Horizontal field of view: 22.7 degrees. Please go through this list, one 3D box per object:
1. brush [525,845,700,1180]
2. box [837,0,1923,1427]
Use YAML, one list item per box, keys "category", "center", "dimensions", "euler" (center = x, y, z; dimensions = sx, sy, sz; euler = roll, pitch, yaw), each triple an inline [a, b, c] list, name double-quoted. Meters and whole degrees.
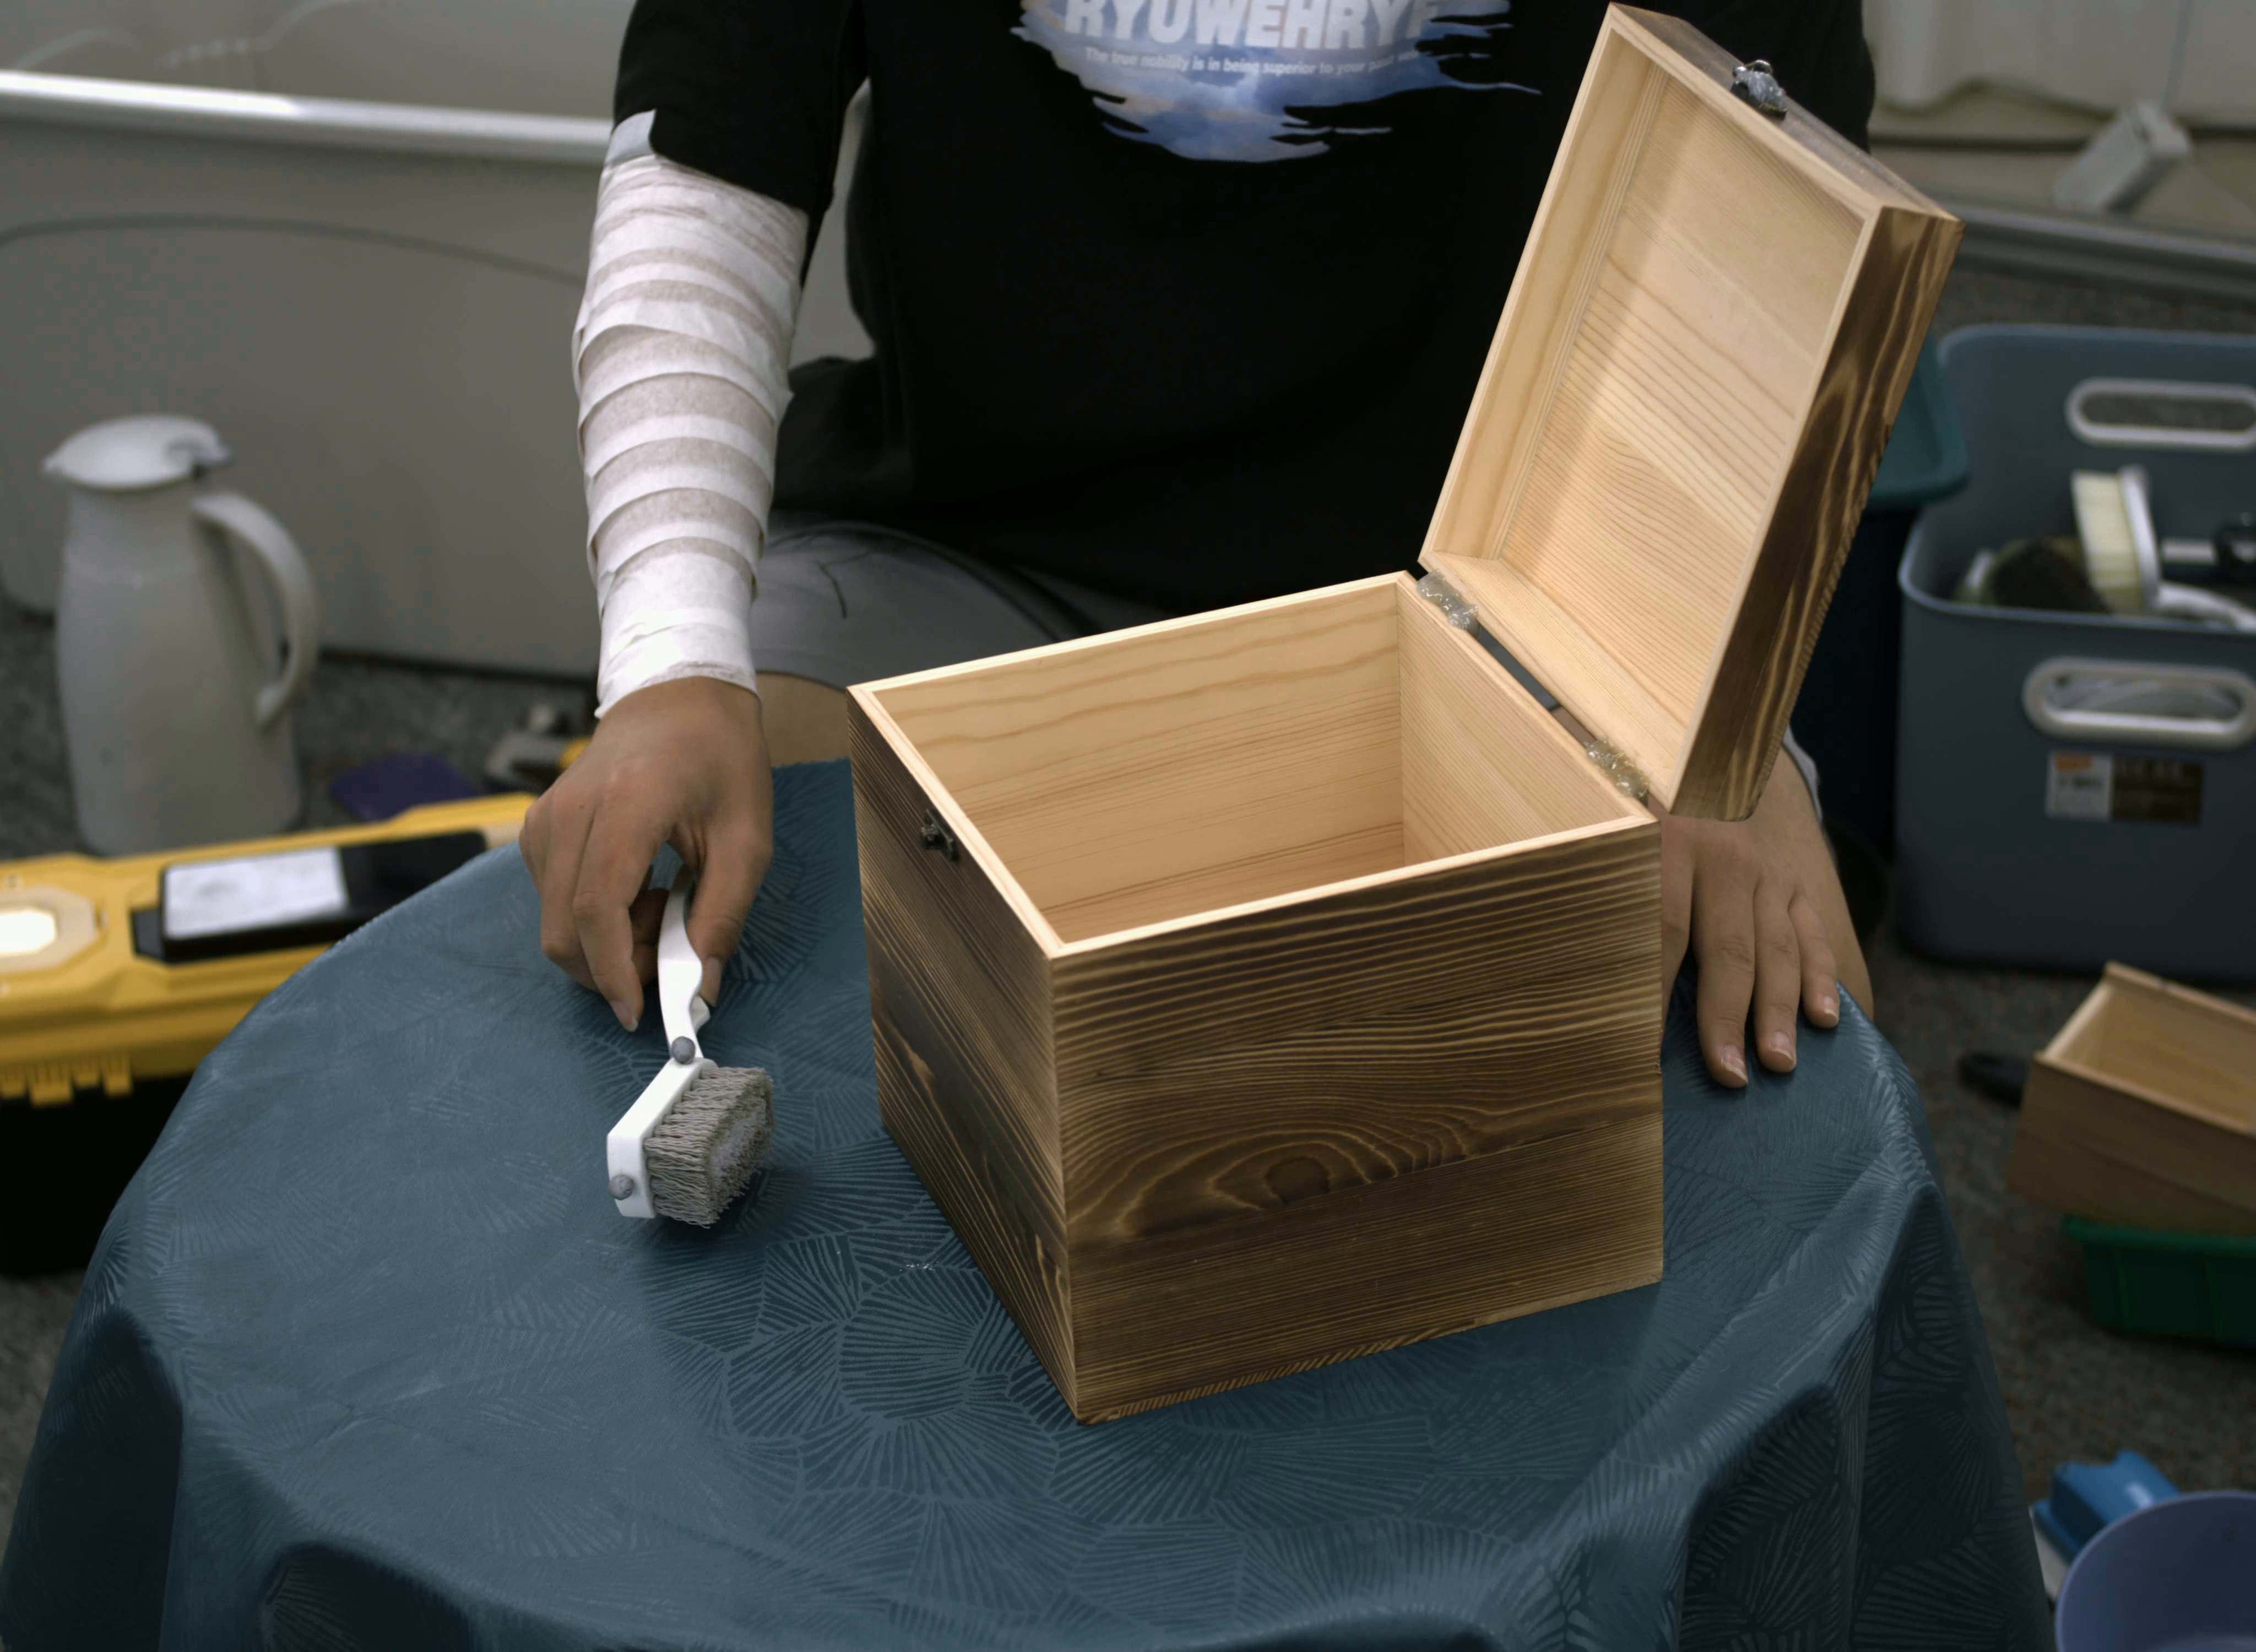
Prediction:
- category: "brush"
  center: [-0.164, 0.050, 1.936]
  dimensions: [0.050, 0.034, 0.247]
  euler: [-39, 15, 18]
- category: "box"
  center: [0.080, -0.049, 1.792]
  dimensions: [0.323, 0.372, 0.210]
  euler: [-12, 26, -17]
